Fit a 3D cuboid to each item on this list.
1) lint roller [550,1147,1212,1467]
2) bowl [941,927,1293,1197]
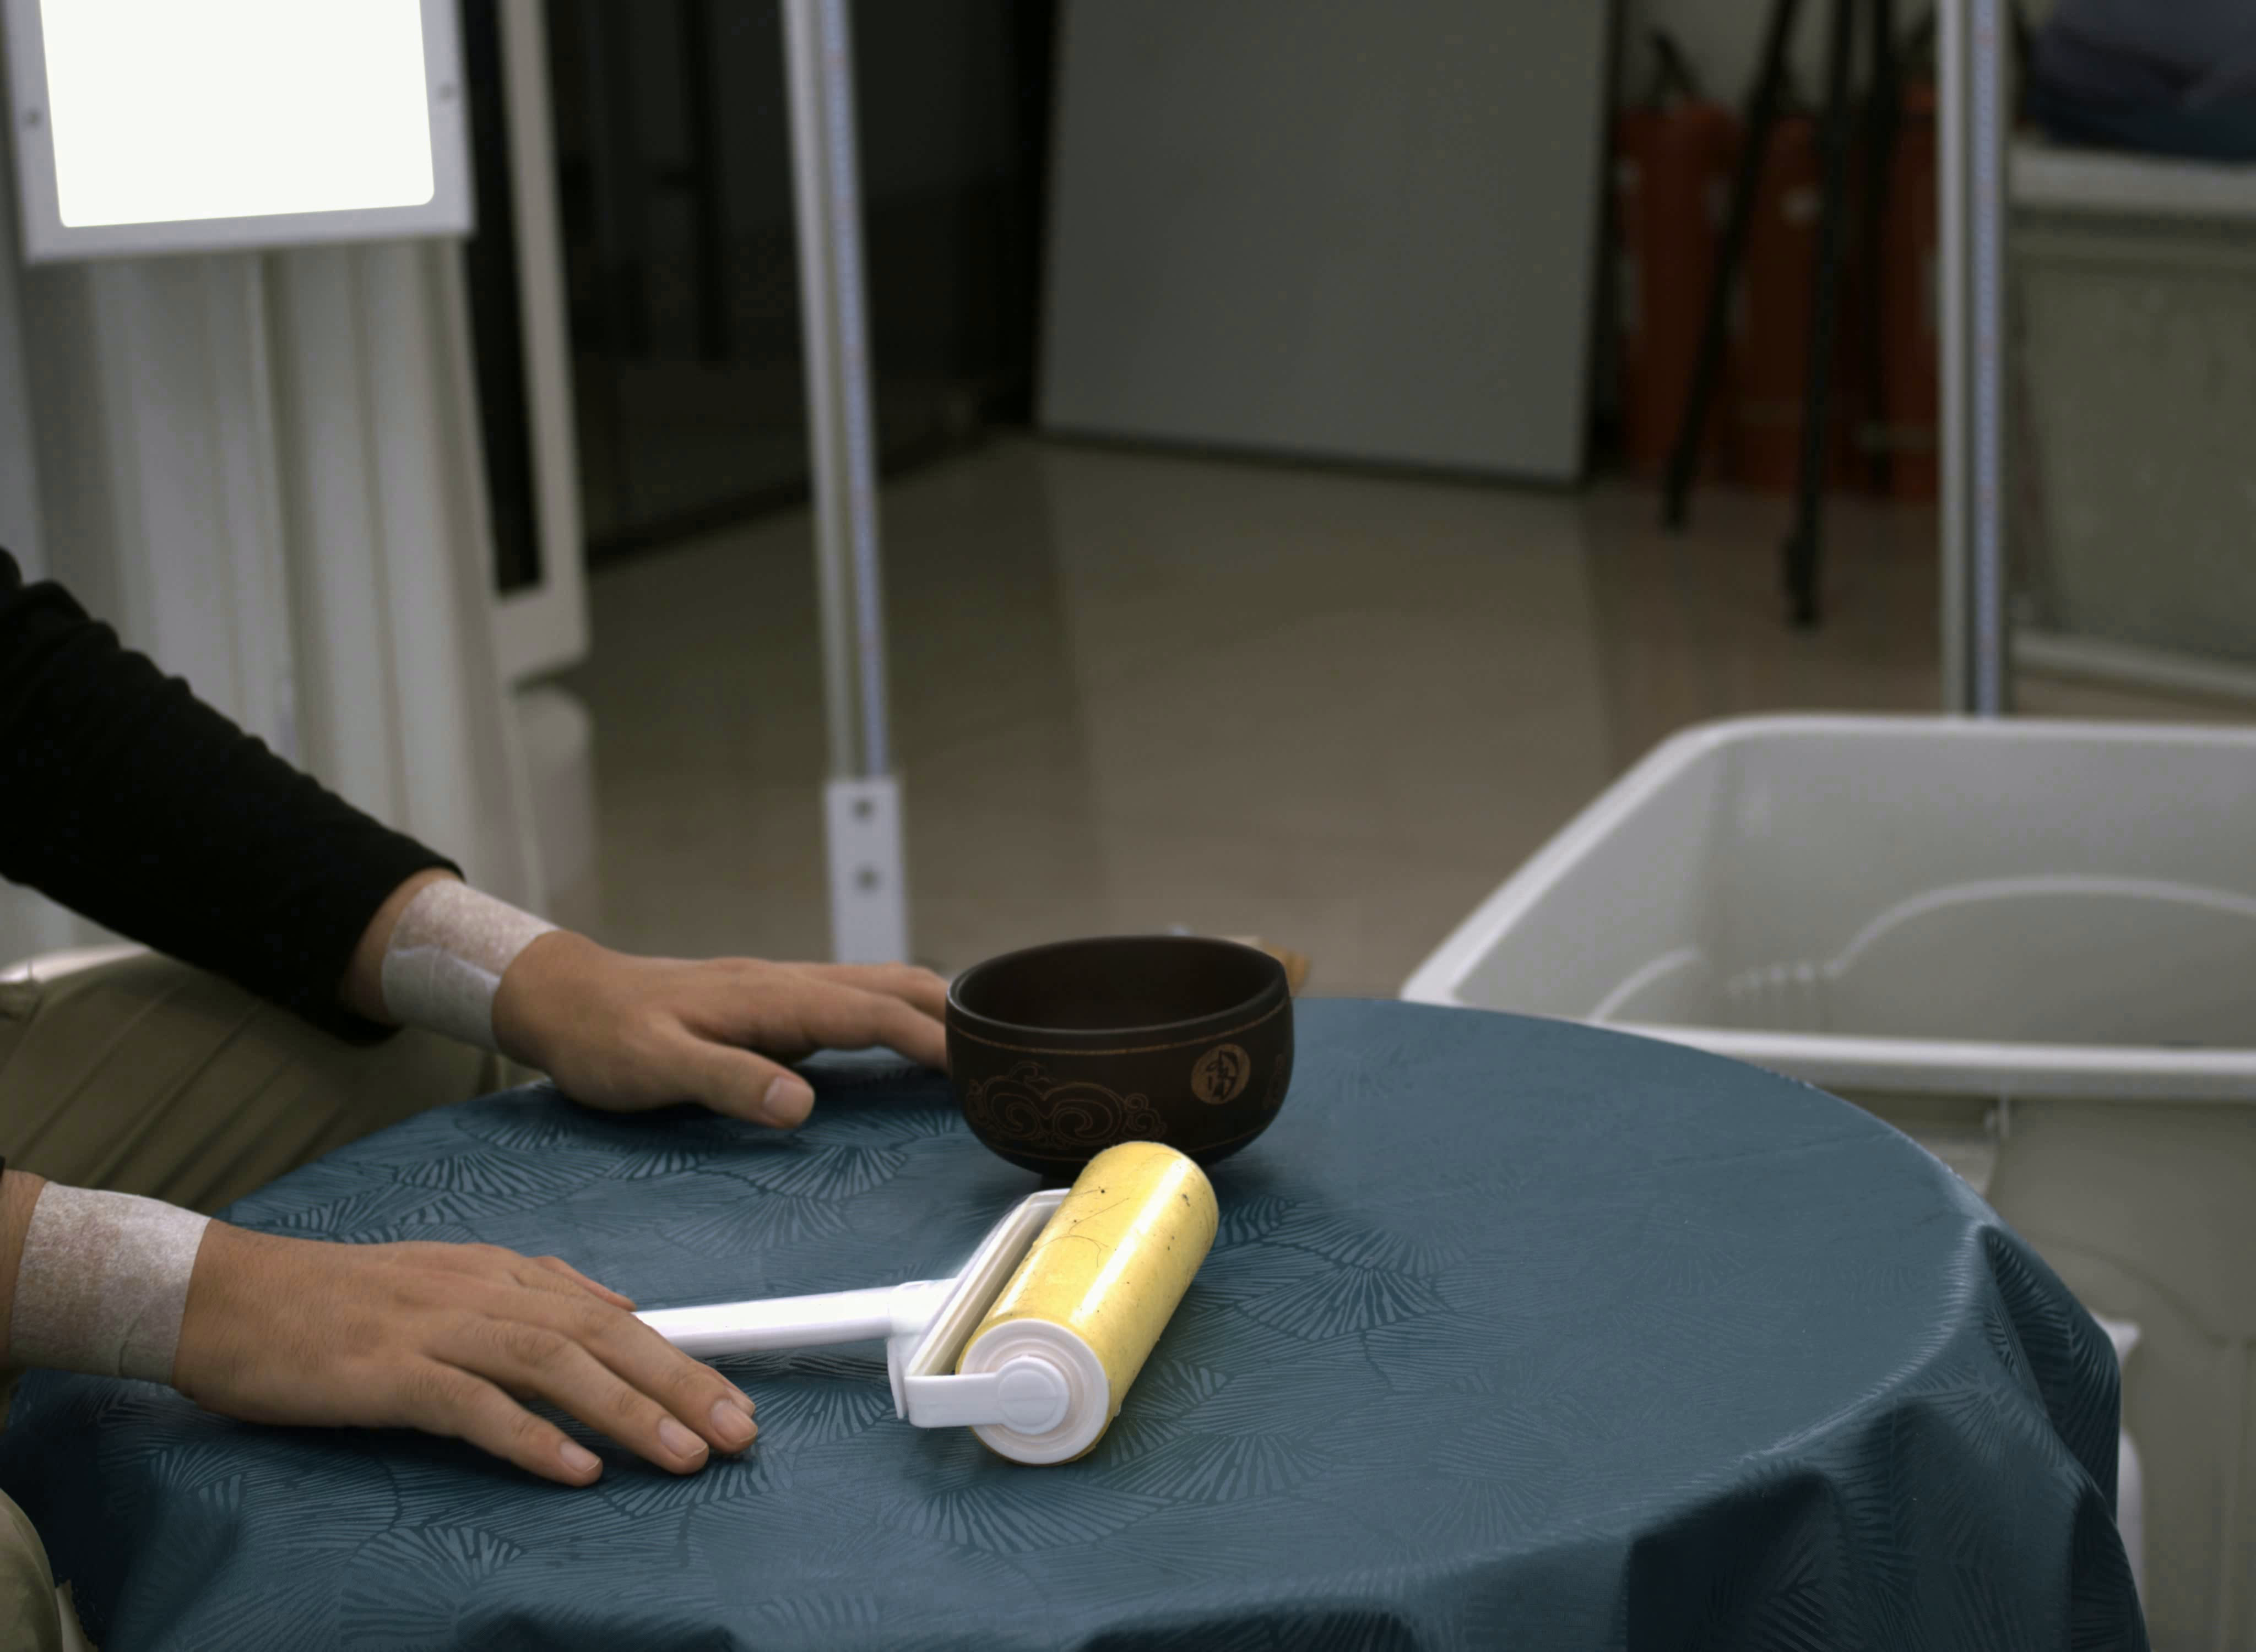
[{"bbox_3d":[-0.080,0.139,1.612,0.191,0.052,0.173,3,15,10],"label":"lint roller"},{"bbox_3d":[-0.003,0.082,1.774,0.116,0.070,0.118,-3,14,0],"label":"bowl"}]
